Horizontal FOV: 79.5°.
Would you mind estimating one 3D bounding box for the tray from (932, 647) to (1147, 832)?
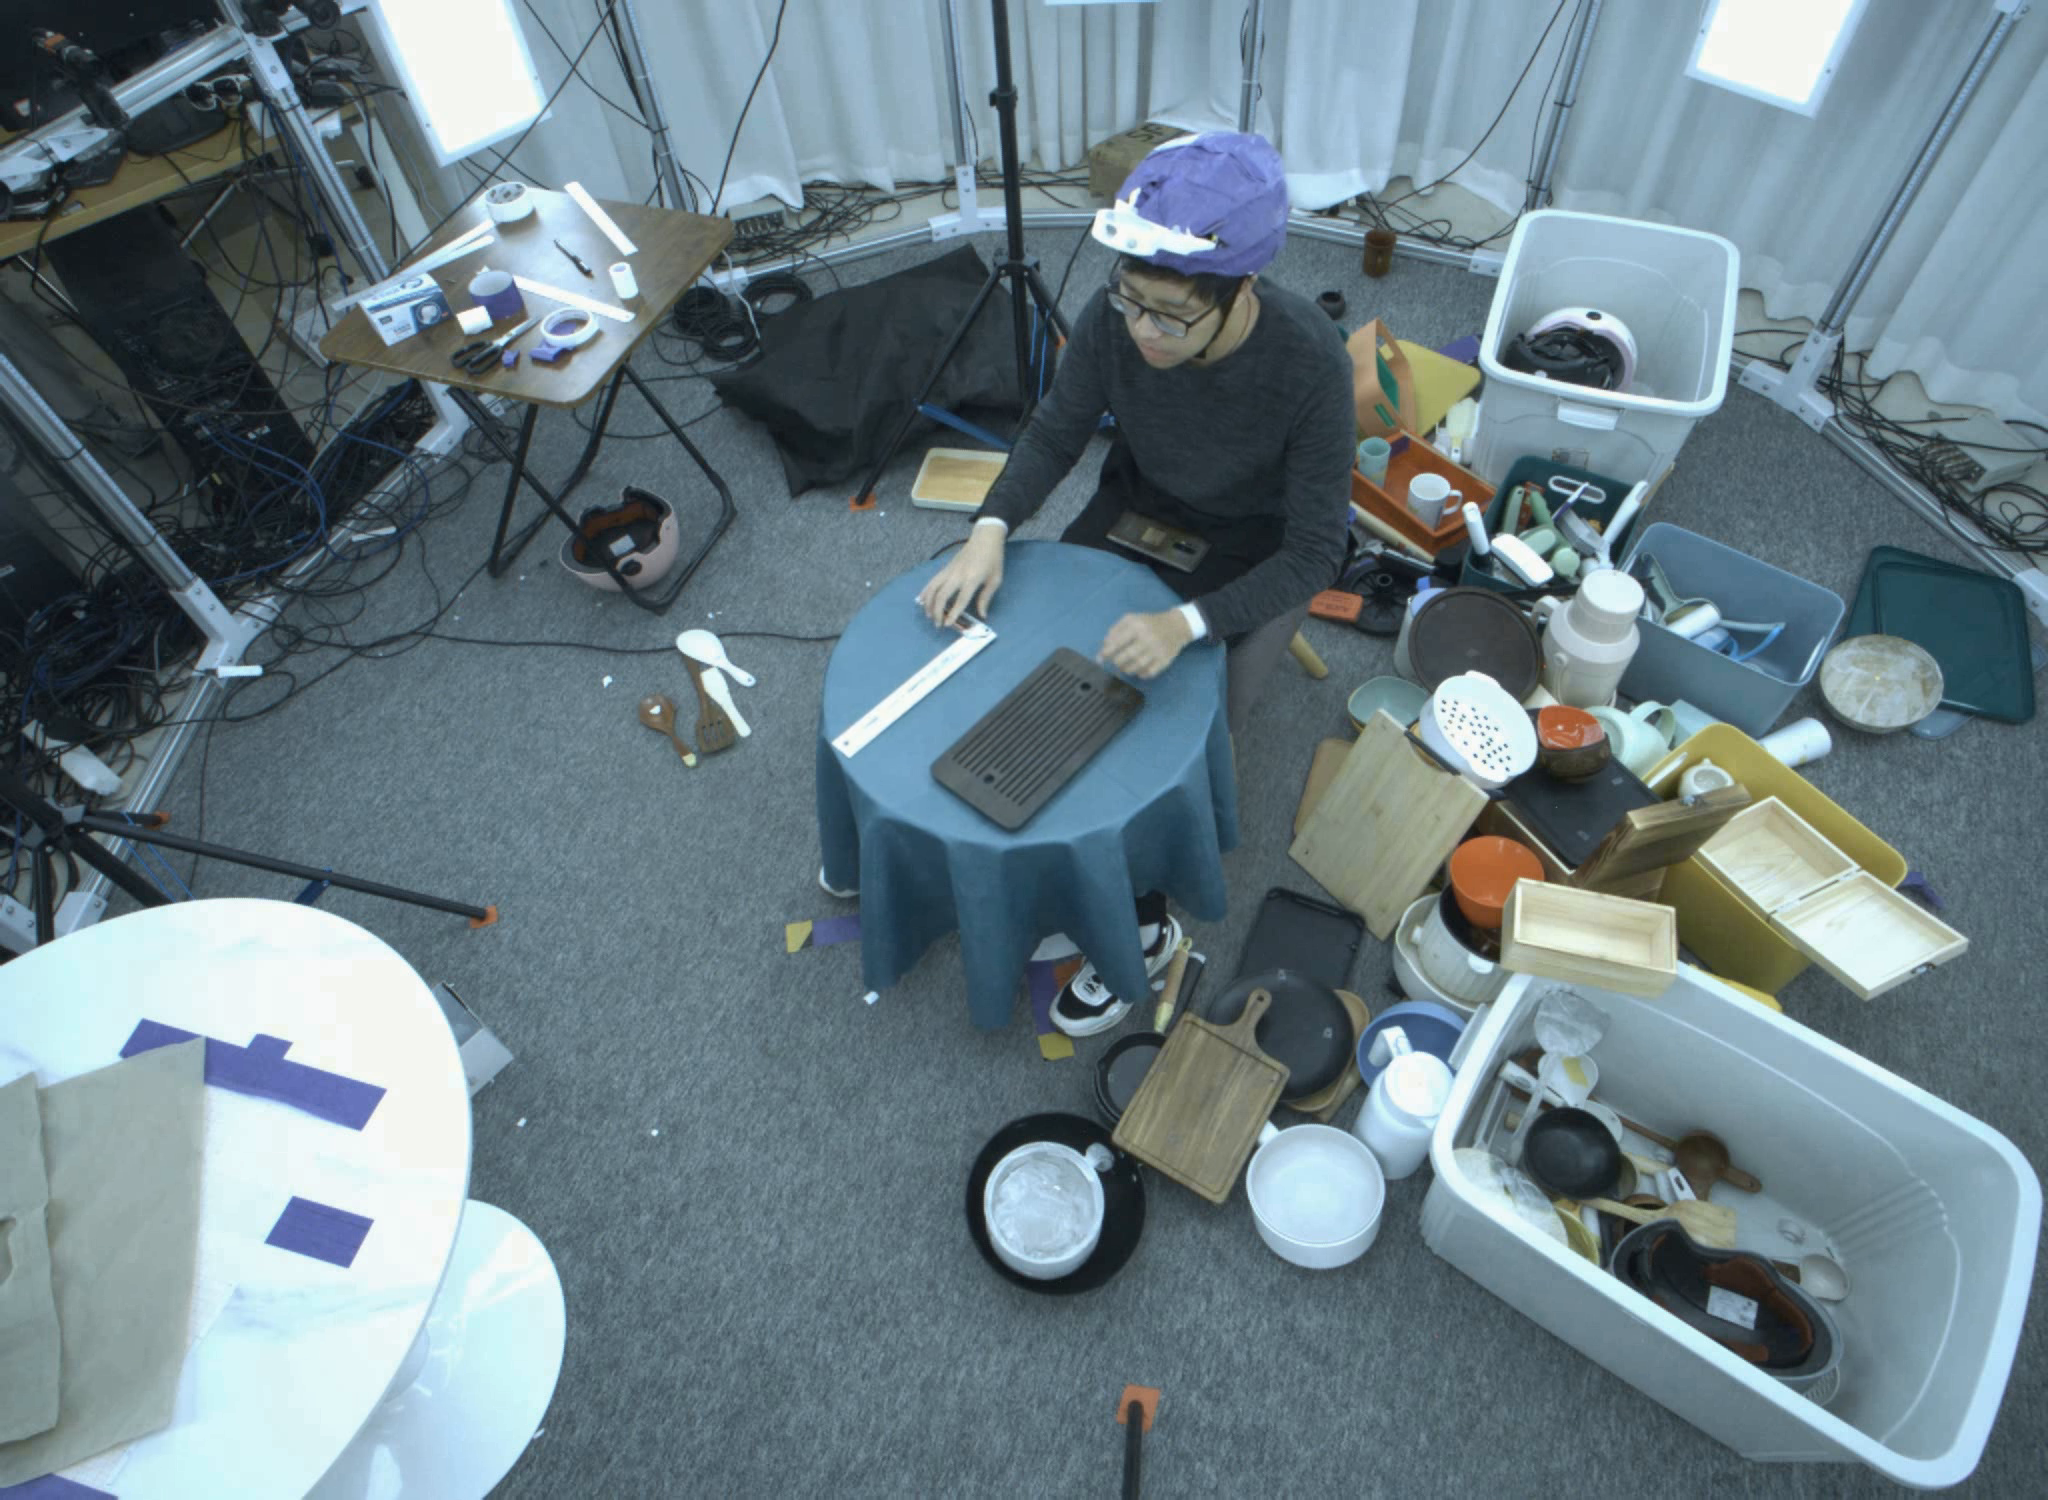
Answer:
[{"bbox_3d":[0.025,-0.019,1.790,0.167,0.019,0.308,34,63,24],"label":"tray"}]

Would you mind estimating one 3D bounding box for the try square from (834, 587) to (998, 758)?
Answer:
[{"bbox_3d":[-0.200,-0.124,1.877,0.149,0.016,0.315,37,65,24],"label":"try square"}]
